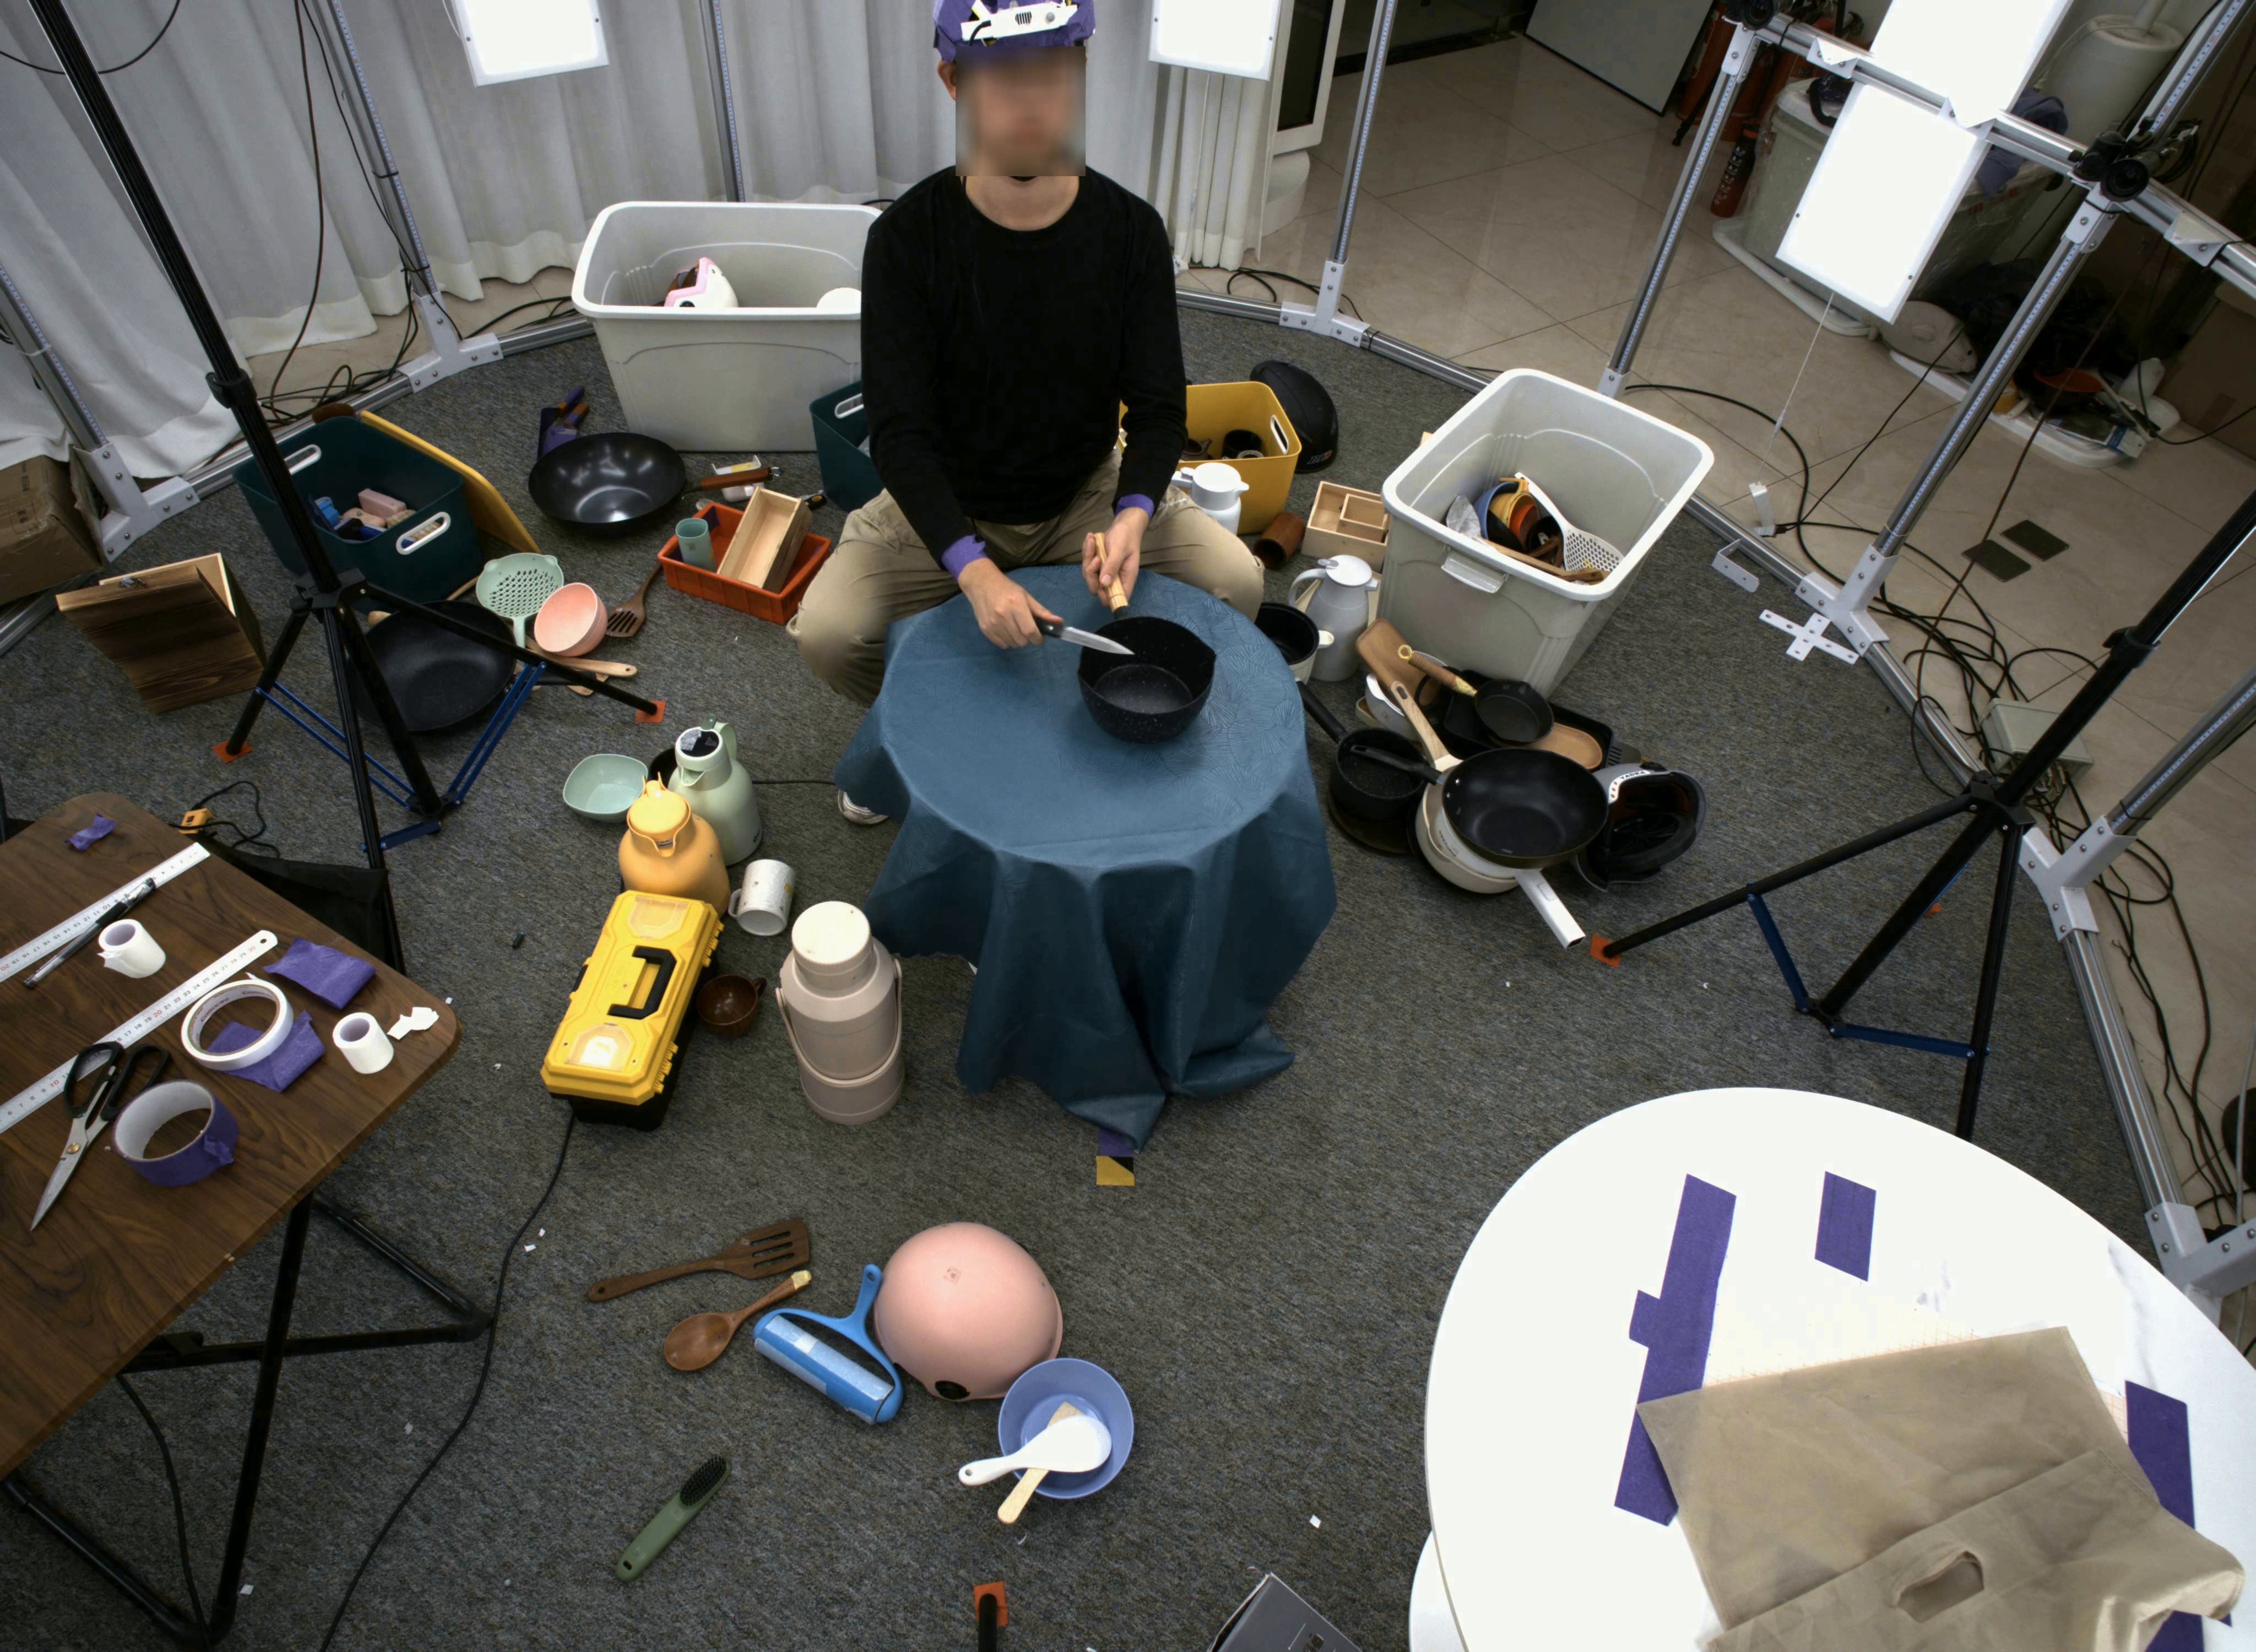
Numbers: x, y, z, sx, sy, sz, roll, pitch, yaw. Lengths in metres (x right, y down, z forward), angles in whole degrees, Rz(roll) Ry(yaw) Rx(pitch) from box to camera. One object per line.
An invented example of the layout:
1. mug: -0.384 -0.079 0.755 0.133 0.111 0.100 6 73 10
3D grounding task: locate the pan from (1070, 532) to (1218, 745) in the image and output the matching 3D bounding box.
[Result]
1. pan: 0.000 -0.265 1.821 0.207 0.106 0.351 -11 55 -13

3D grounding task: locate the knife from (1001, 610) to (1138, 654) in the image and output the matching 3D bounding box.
1. knife: -0.085 -0.265 1.775 0.241 0.016 0.025 20 69 31
